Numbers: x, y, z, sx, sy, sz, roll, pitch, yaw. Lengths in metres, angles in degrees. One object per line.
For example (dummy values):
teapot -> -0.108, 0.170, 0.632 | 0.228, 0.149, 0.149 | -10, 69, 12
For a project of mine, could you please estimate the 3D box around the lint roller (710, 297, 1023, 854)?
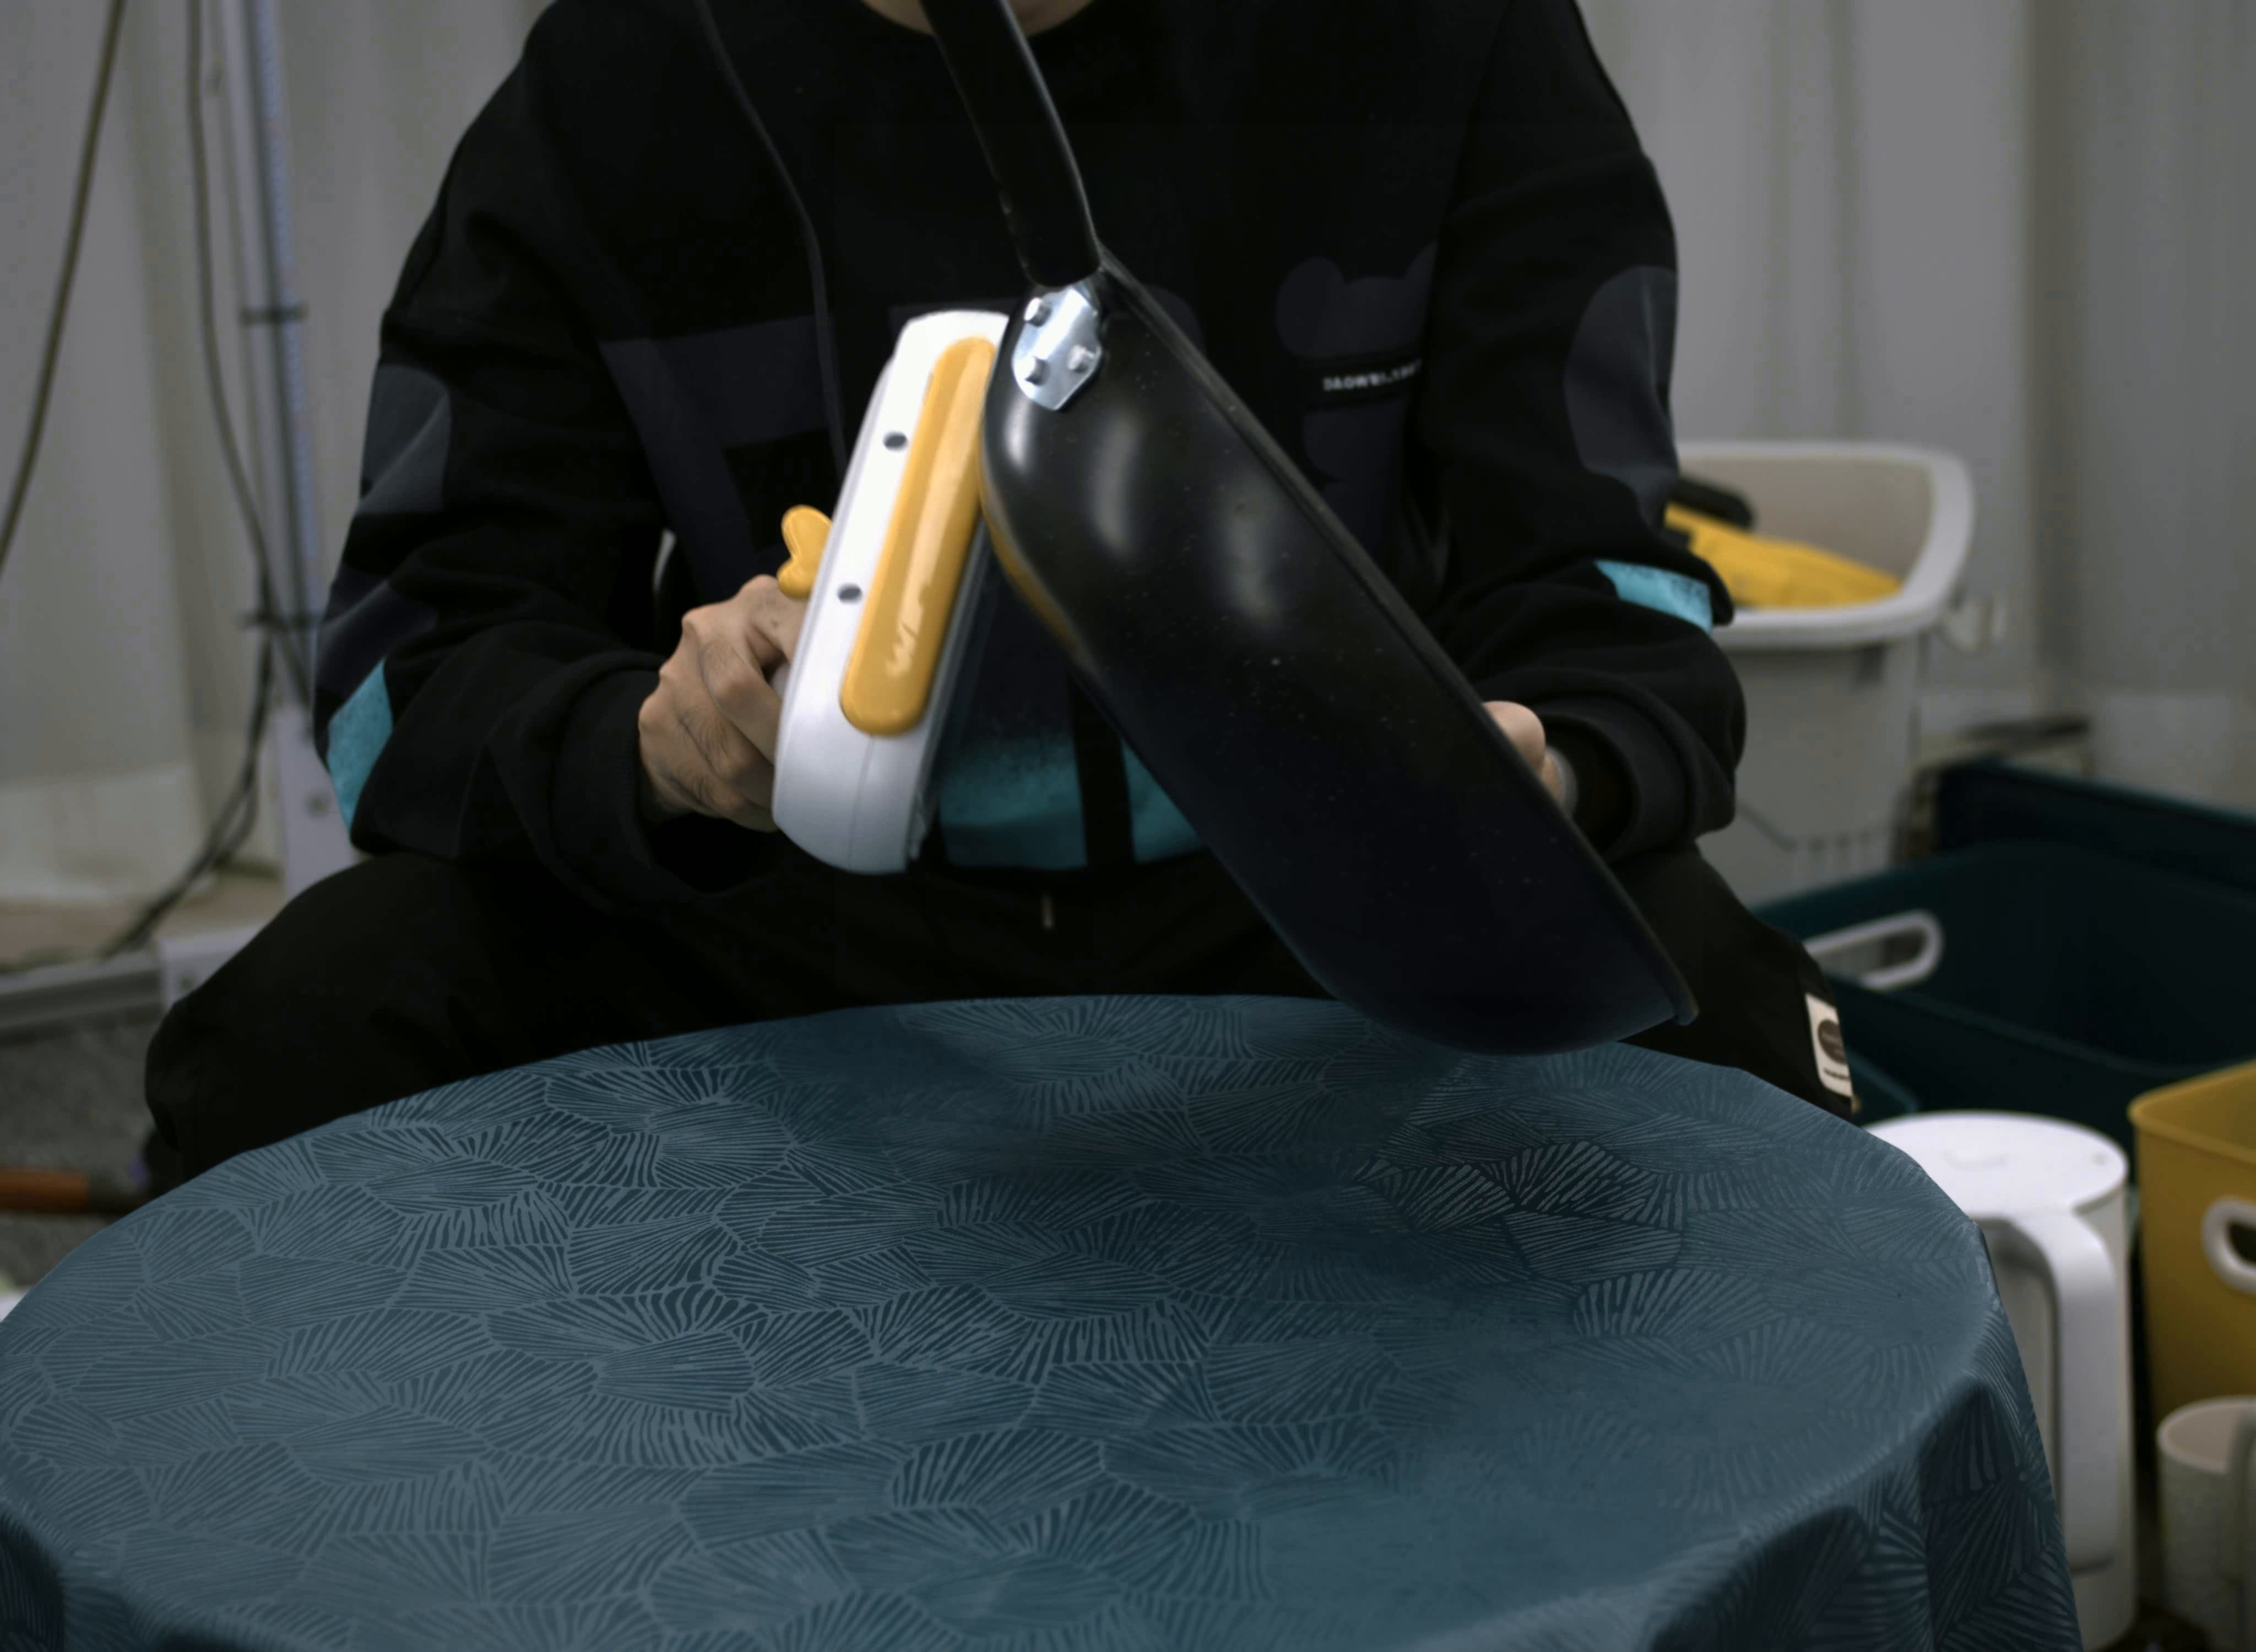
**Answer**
lint roller -> -0.088, -0.054, 1.776 | 0.074, 0.195, 0.190 | 14, -32, -9

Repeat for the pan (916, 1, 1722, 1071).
pan -> 0.013, -0.095, 1.619 | 0.111, 0.471, 0.314 | -39, 32, -1
